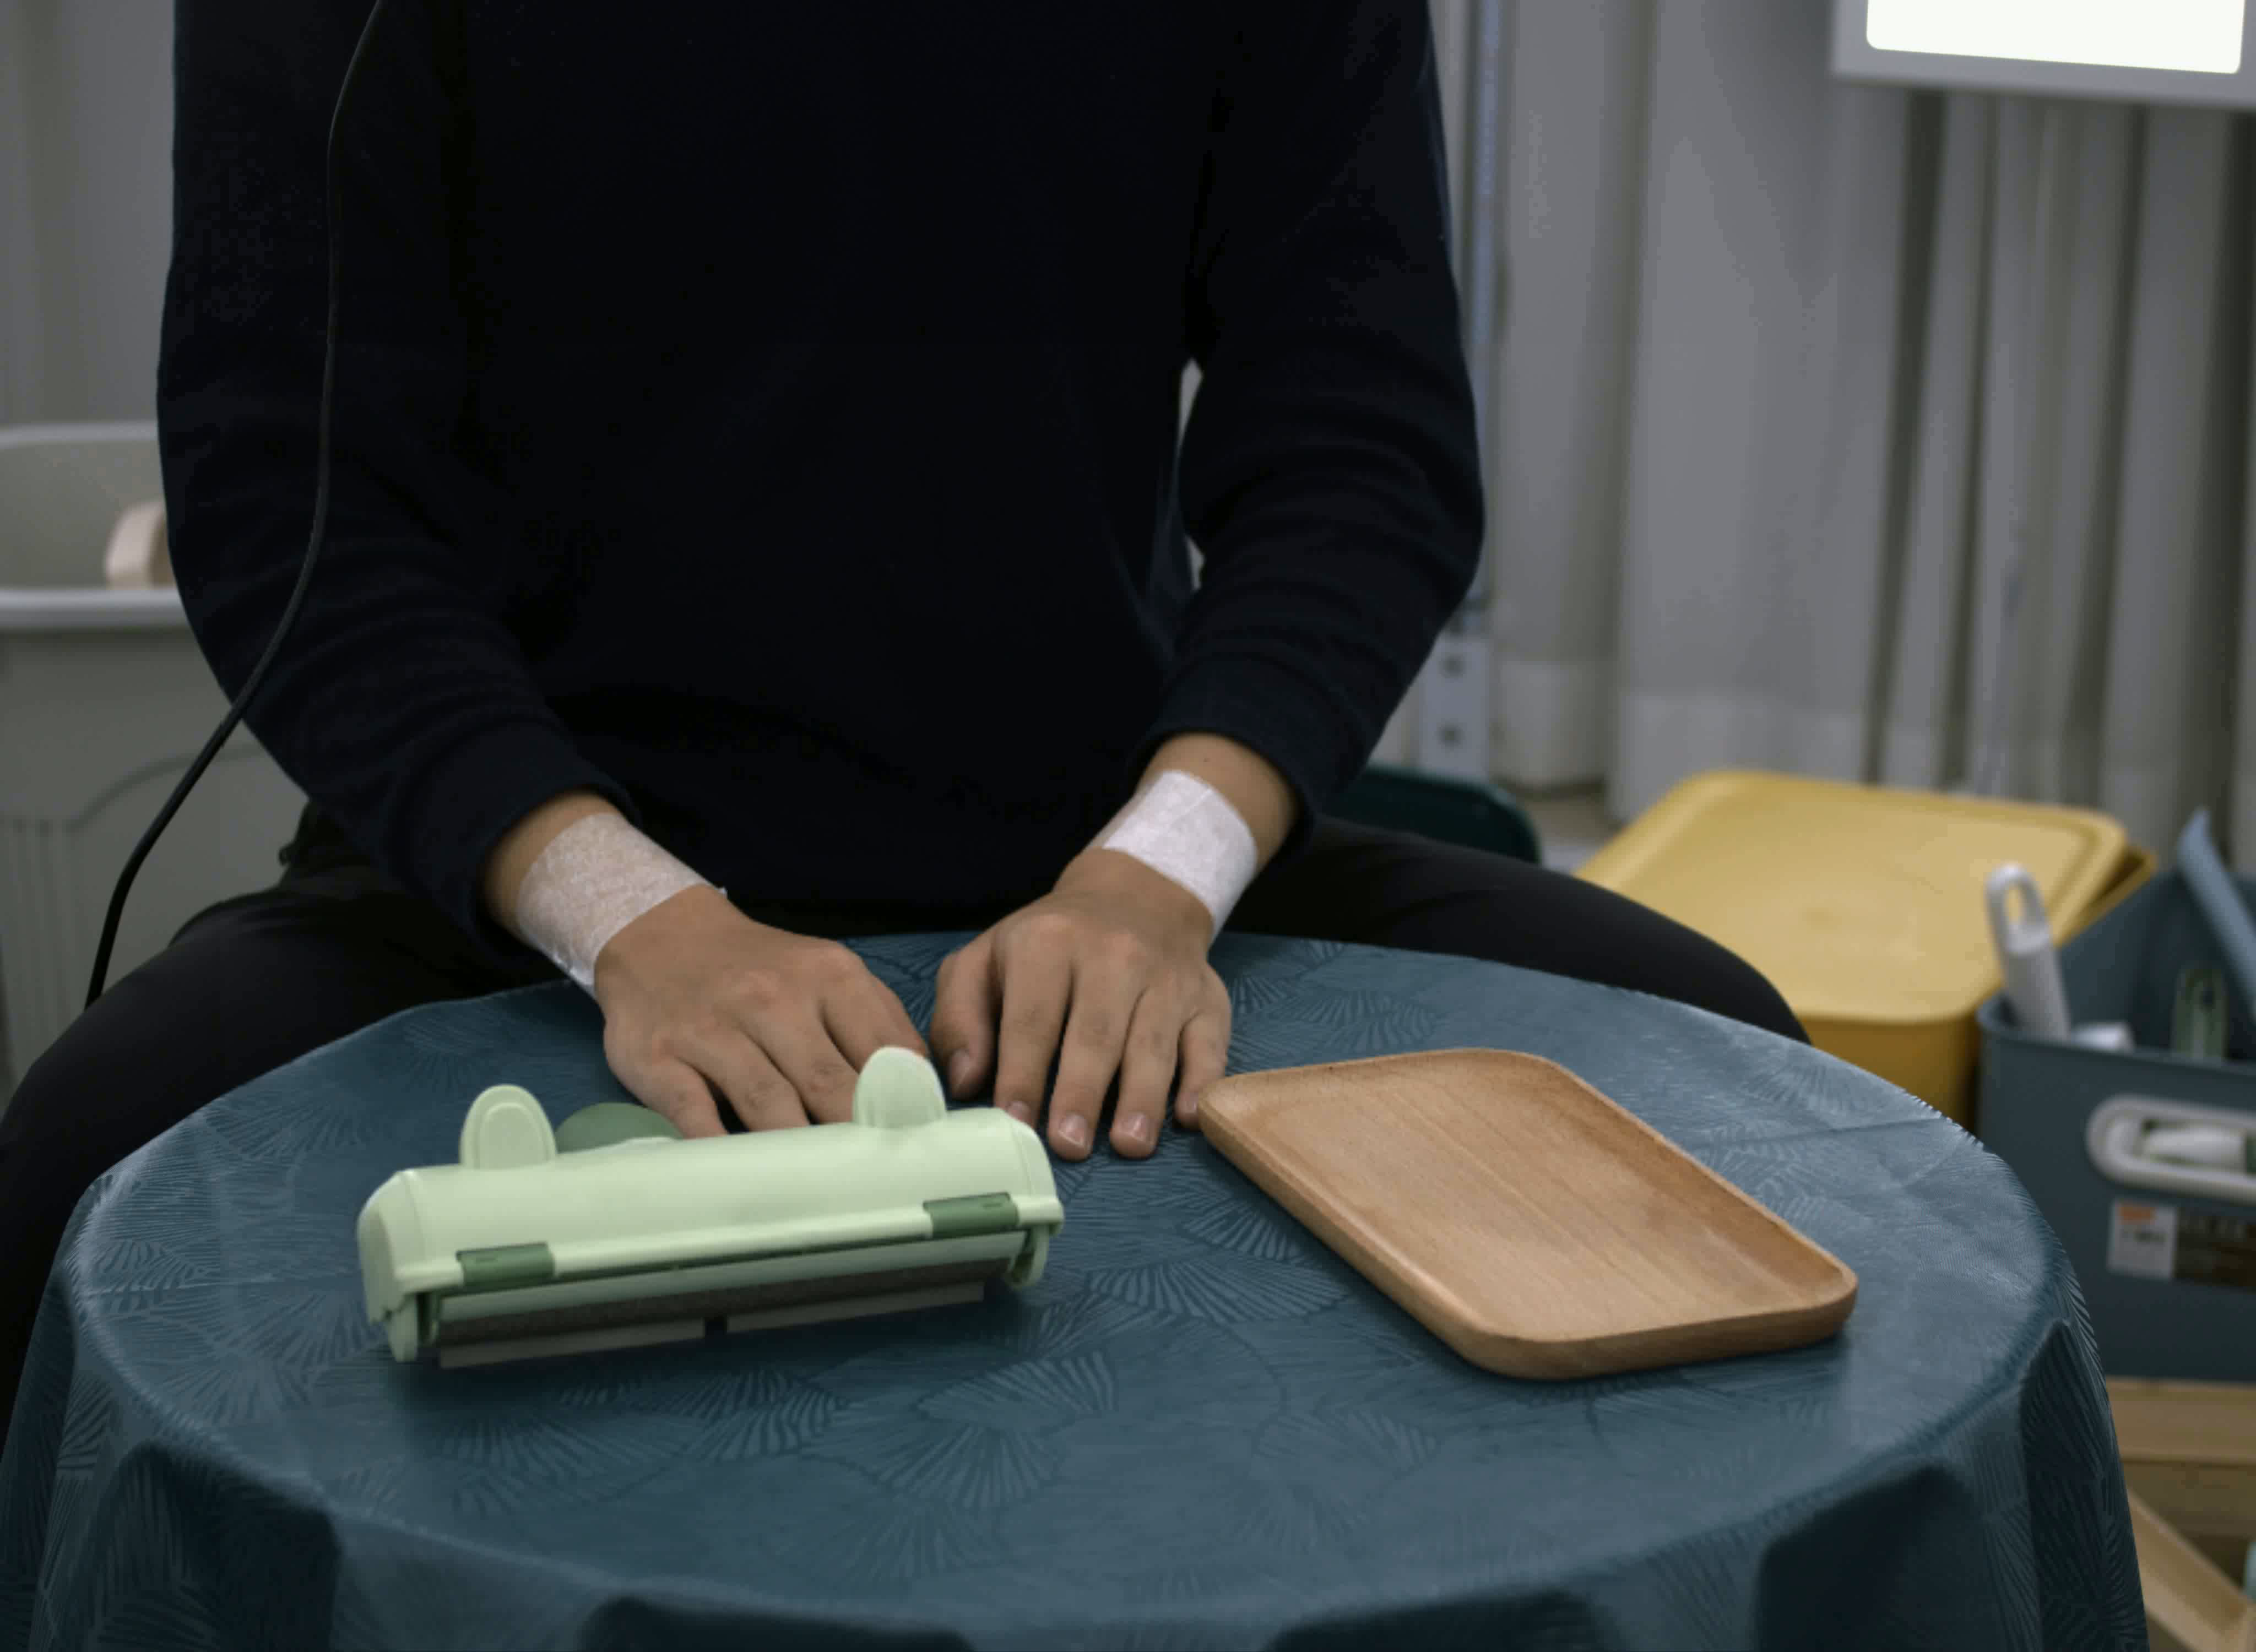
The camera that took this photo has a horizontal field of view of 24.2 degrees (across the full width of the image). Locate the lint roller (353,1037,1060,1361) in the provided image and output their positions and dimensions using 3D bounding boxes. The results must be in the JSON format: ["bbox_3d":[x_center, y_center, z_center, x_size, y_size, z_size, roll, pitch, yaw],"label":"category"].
[{"bbox_3d":[-0.138,0.088,1.542,0.199,0.083,0.181,-5,22,-20],"label":"lint roller"}]

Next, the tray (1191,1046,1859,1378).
[{"bbox_3d":[0.115,0.113,1.591,0.131,0.023,0.248,-3,15,-20],"label":"tray"}]
